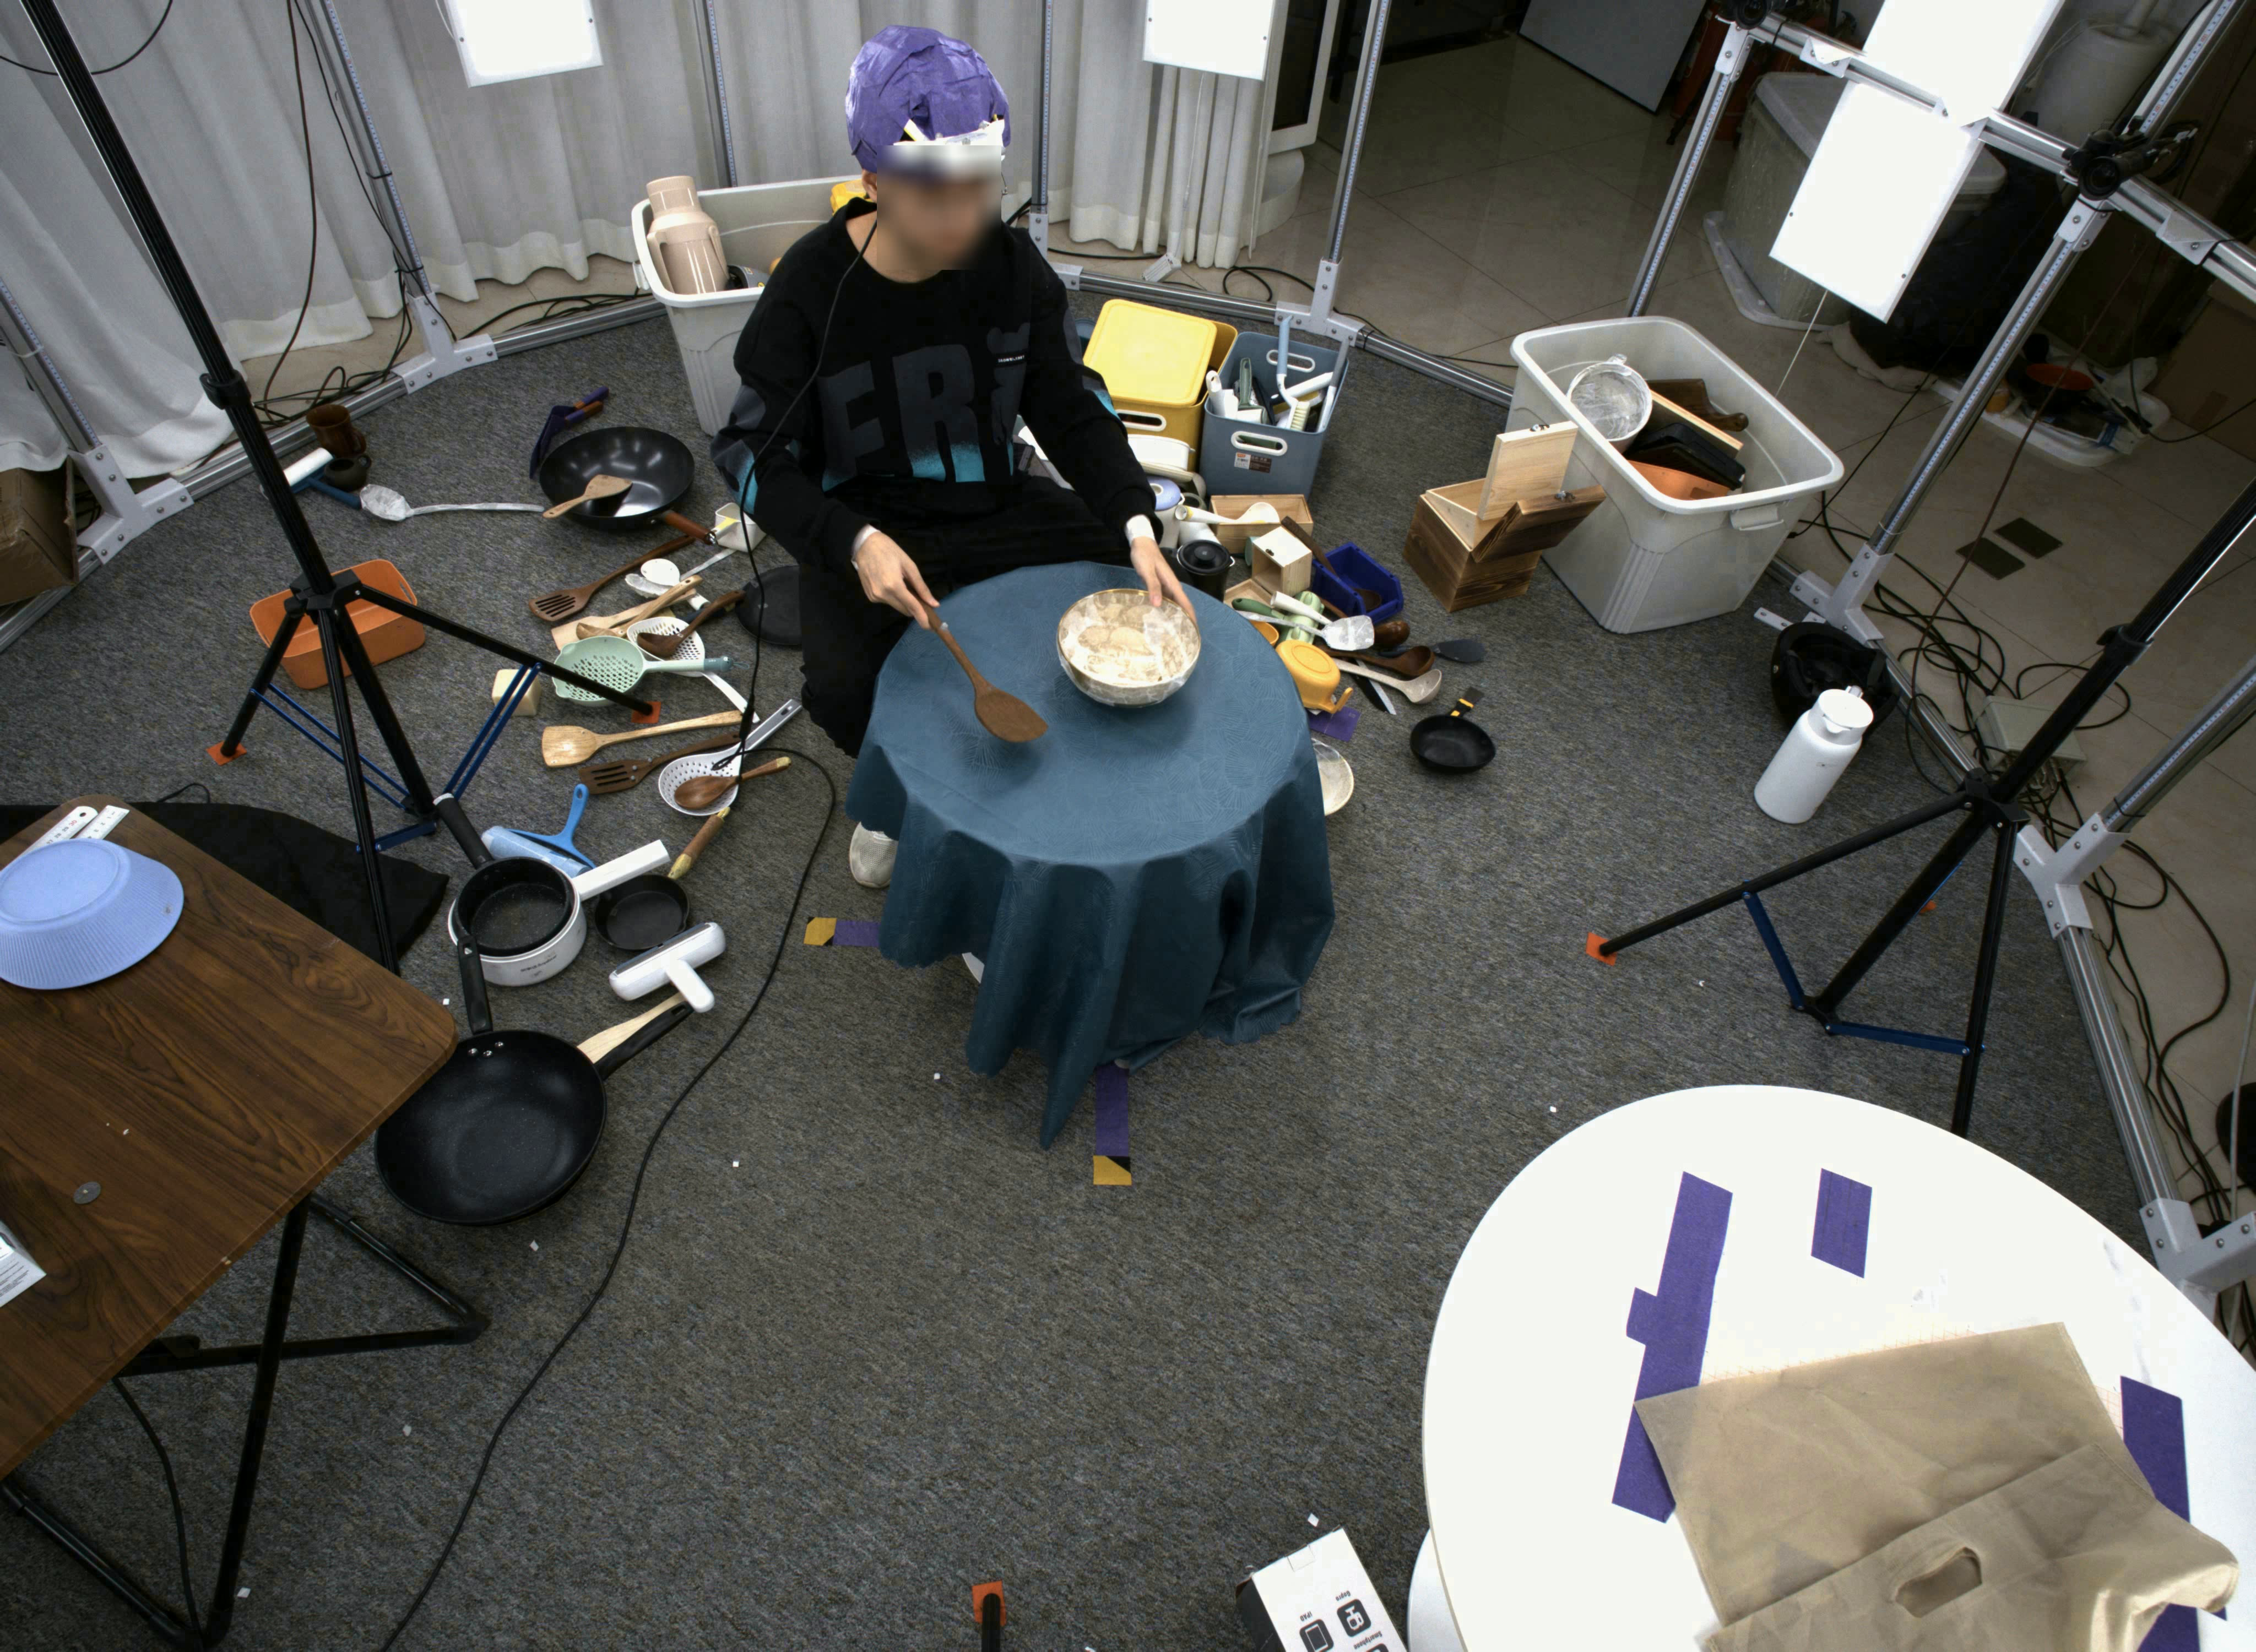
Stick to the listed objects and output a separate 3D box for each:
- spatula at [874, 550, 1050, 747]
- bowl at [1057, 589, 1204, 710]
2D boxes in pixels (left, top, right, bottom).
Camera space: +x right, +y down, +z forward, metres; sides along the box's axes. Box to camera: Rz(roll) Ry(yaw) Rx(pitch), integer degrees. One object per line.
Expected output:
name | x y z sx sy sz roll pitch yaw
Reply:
spatula | -0.244 -0.252 1.782 0.096 0.015 0.391 -17 61 -44
bowl | 0.002 -0.238 1.831 0.214 0.092 0.220 1 49 -1
